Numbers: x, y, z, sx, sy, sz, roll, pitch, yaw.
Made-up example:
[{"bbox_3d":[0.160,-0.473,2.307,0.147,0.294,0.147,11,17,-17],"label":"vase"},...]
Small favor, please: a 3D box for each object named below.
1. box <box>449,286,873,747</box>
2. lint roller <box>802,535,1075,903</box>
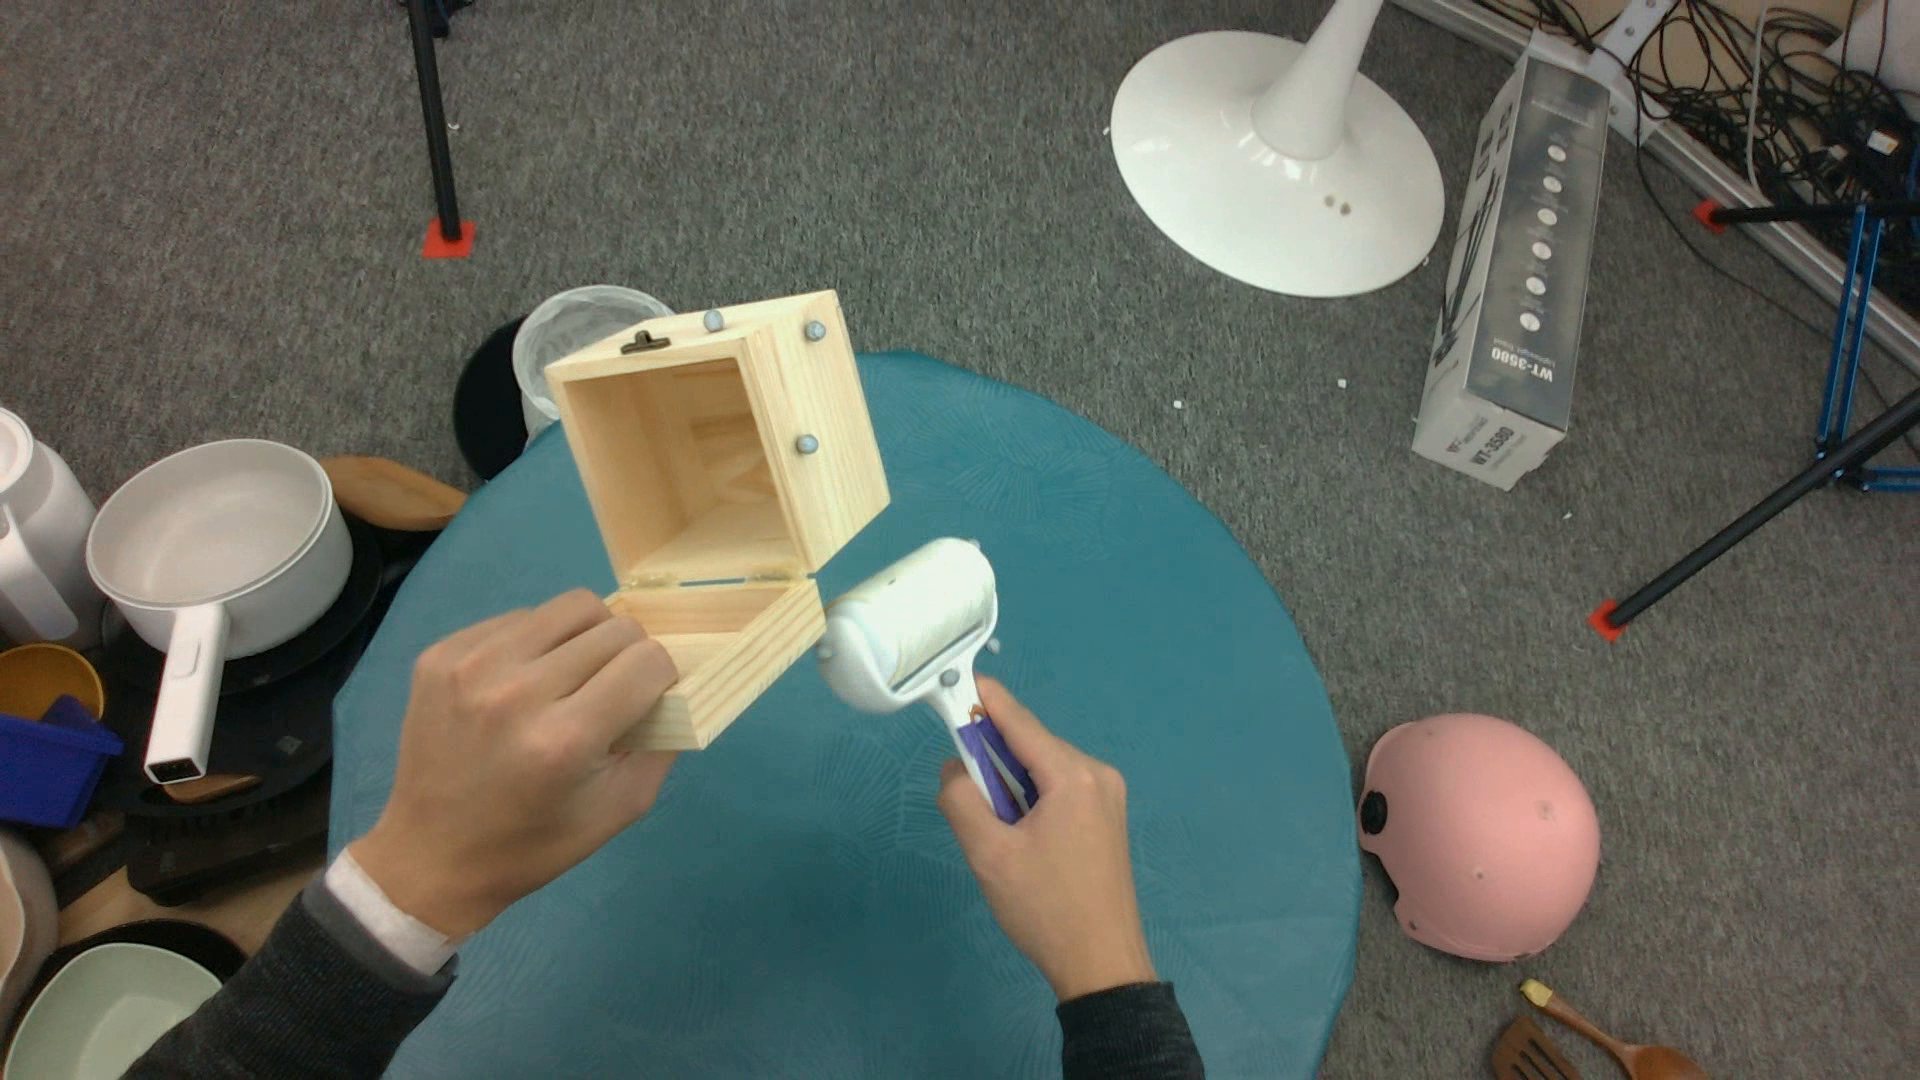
[{"bbox_3d":[-0.124,-0.017,0.558,0.102,0.133,0.185,-4,23,23],"label":"box"},{"bbox_3d":[0.009,0.087,0.640,0.181,0.050,0.133,54,30,5],"label":"lint roller"}]
